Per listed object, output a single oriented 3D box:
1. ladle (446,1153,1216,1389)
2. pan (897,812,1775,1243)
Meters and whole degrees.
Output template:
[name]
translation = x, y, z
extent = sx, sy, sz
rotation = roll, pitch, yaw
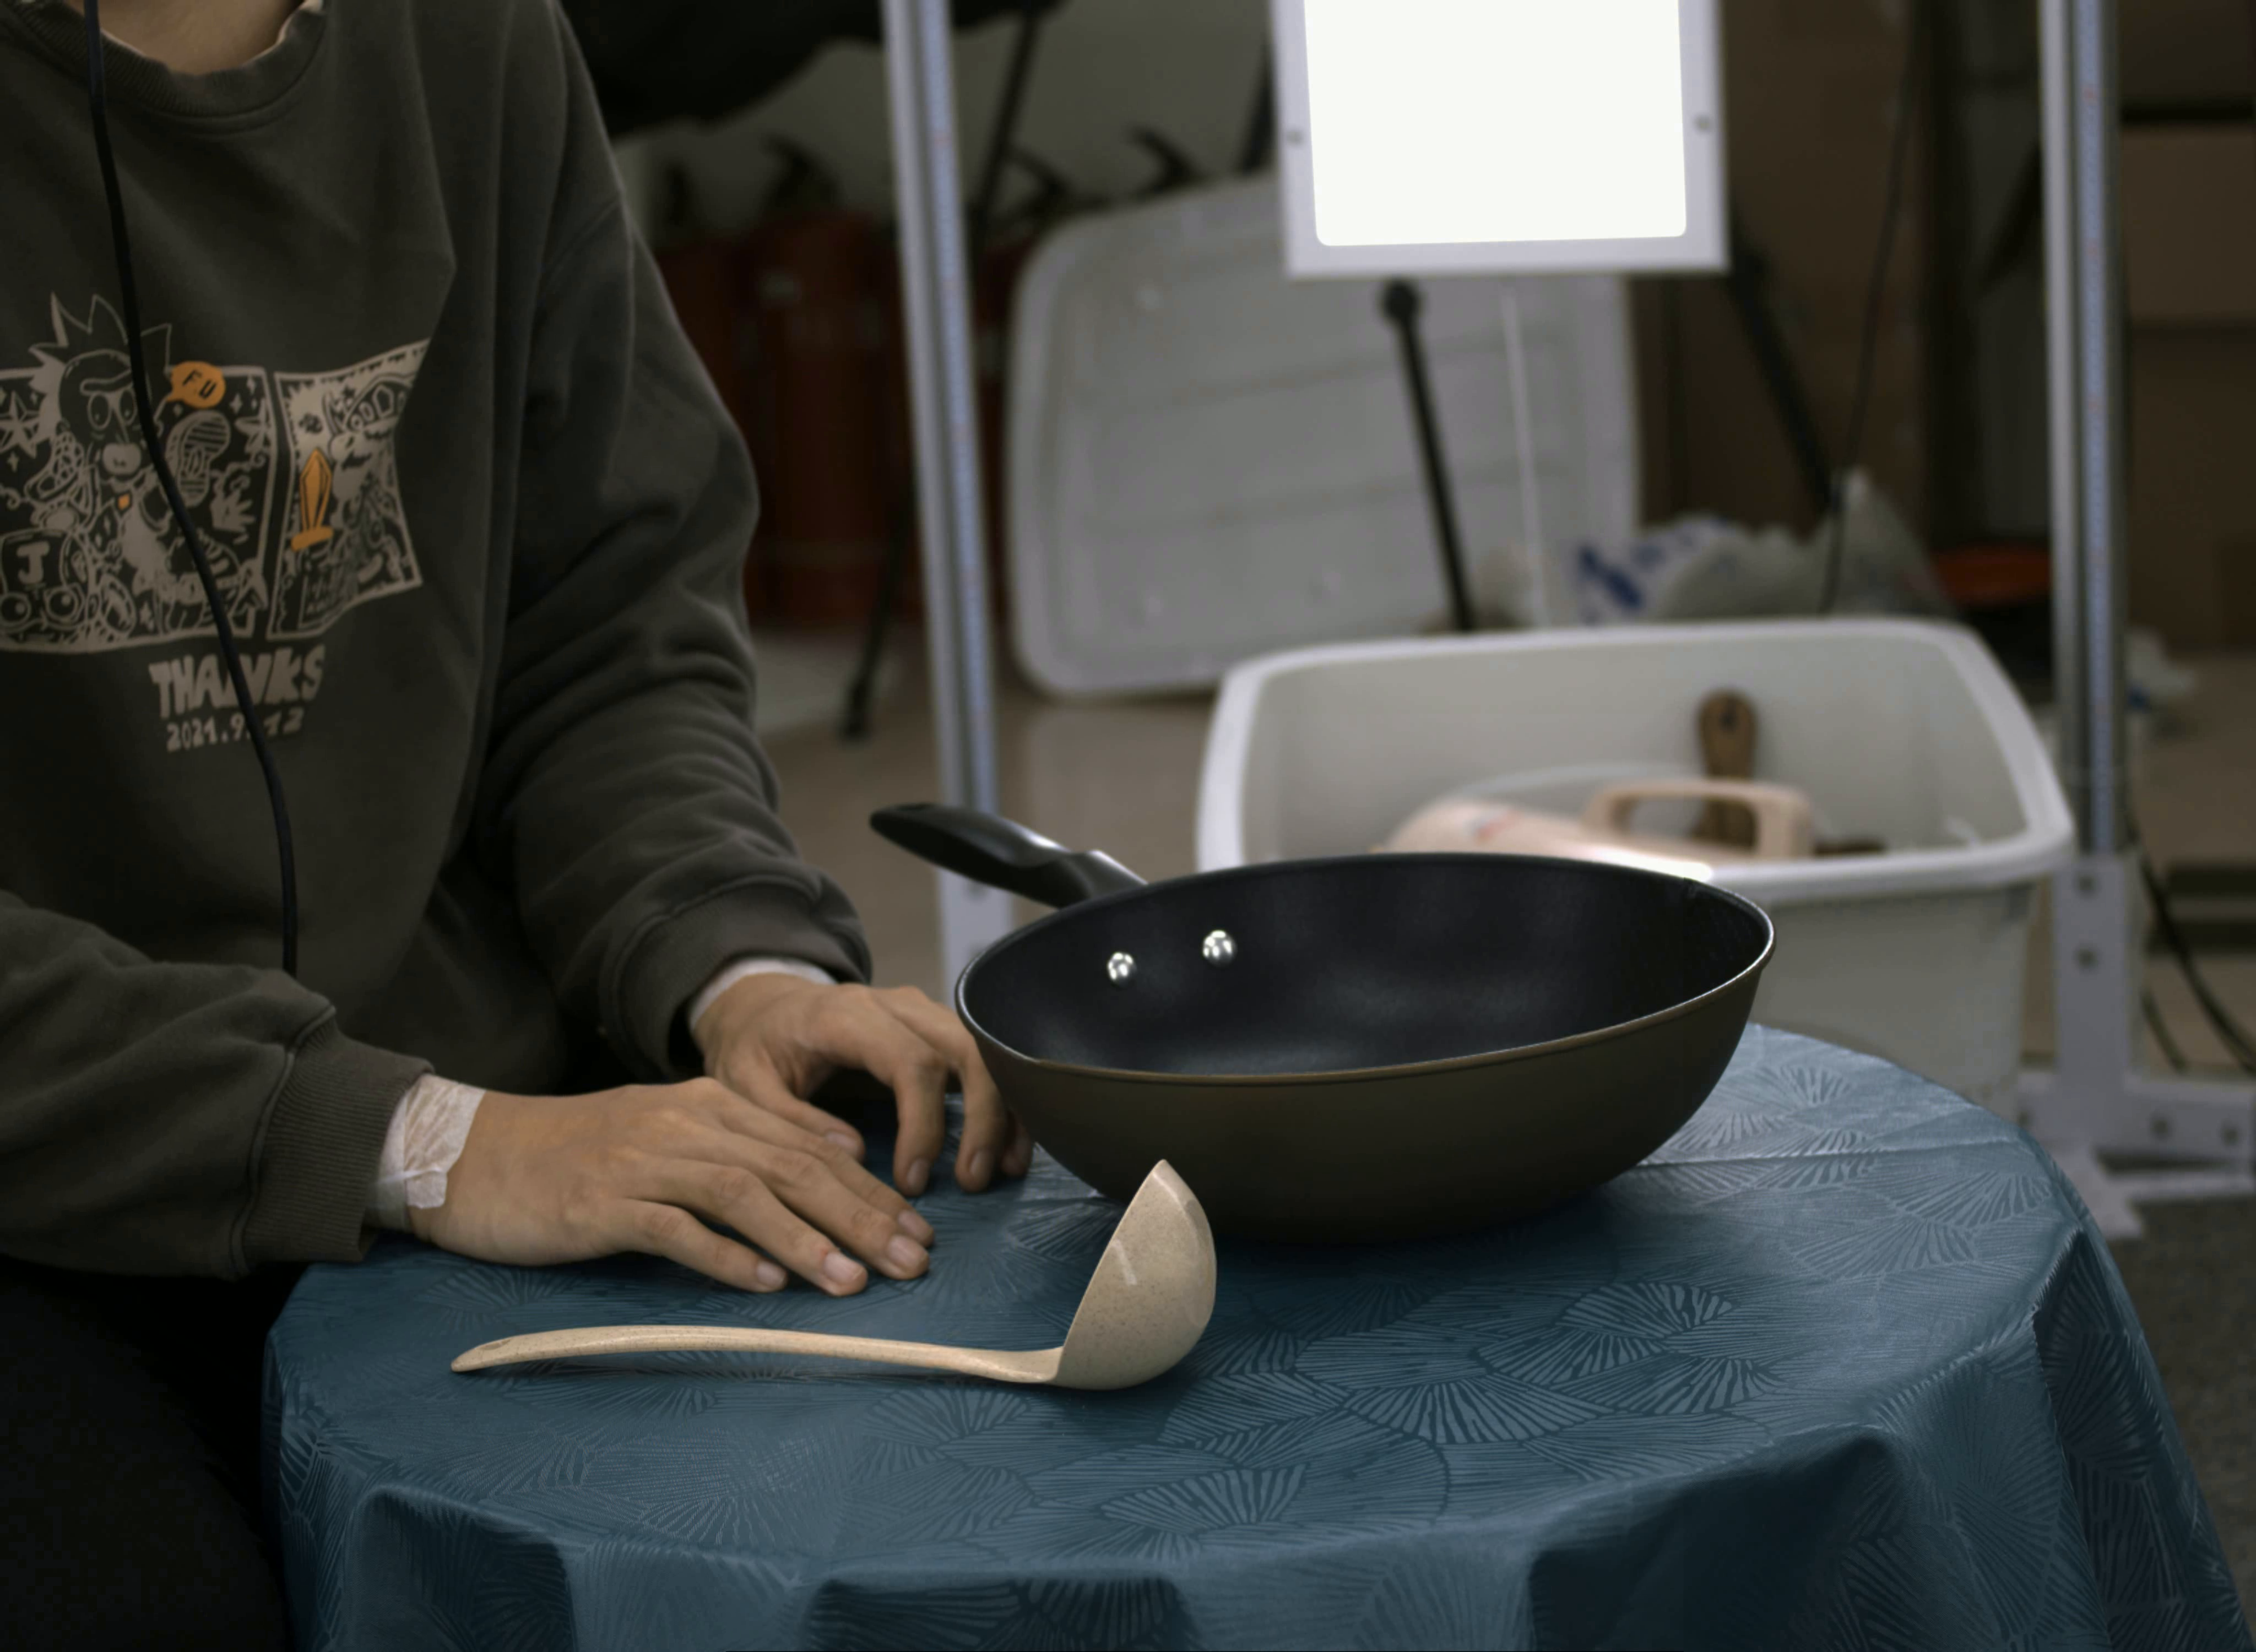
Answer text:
[ladle]
translation = -0.099, 0.140, 1.729
extent = 0.257, 0.073, 0.071
rotation = -1, 20, 16
[pan]
translation = 0.034, 0.067, 1.953
extent = 0.282, 0.087, 0.472
rotation = -13, 15, -29
